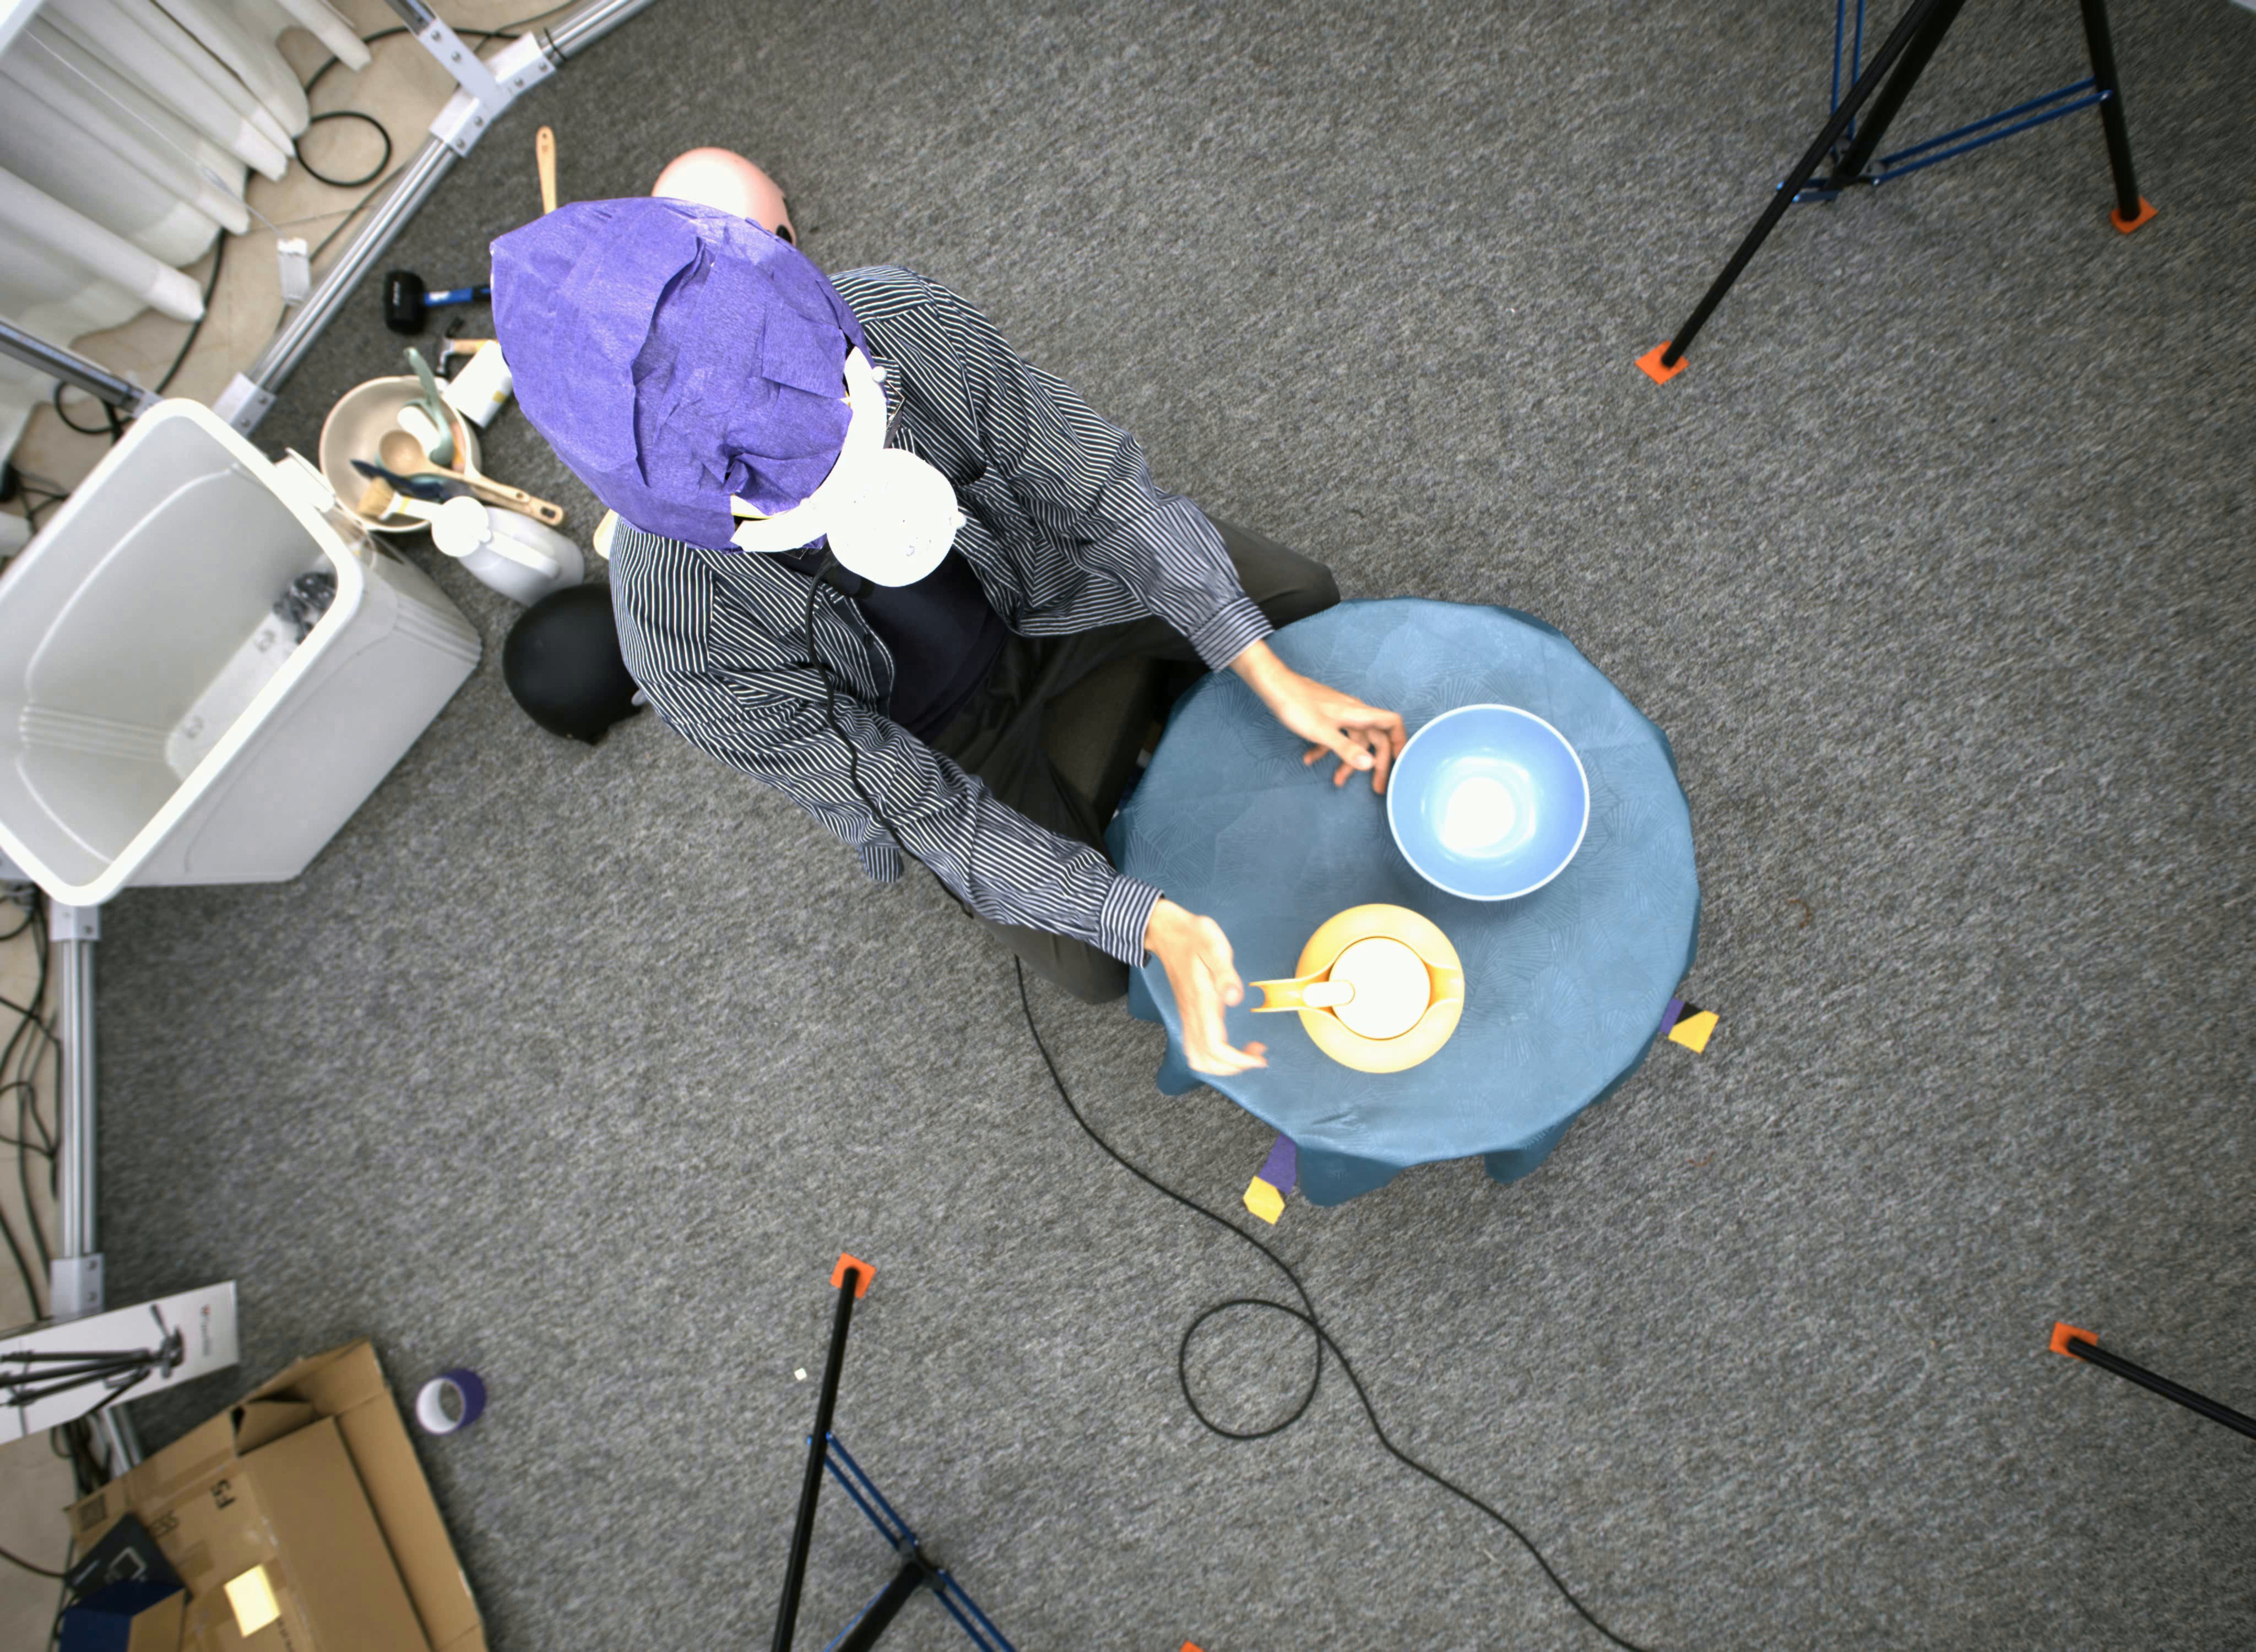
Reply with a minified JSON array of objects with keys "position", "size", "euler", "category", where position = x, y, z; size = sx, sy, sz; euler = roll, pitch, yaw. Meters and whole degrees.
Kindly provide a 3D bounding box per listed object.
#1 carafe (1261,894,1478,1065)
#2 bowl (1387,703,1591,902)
[{"position":[0.231,0.145,1.321],"size":[0.203,0.260,0.162],"euler":[-6,85,10],"category":"carafe"},{"position":[0.360,-0.022,1.389],"size":[0.197,0.095,0.196],"euler":[-1,87,9],"category":"bowl"}]
